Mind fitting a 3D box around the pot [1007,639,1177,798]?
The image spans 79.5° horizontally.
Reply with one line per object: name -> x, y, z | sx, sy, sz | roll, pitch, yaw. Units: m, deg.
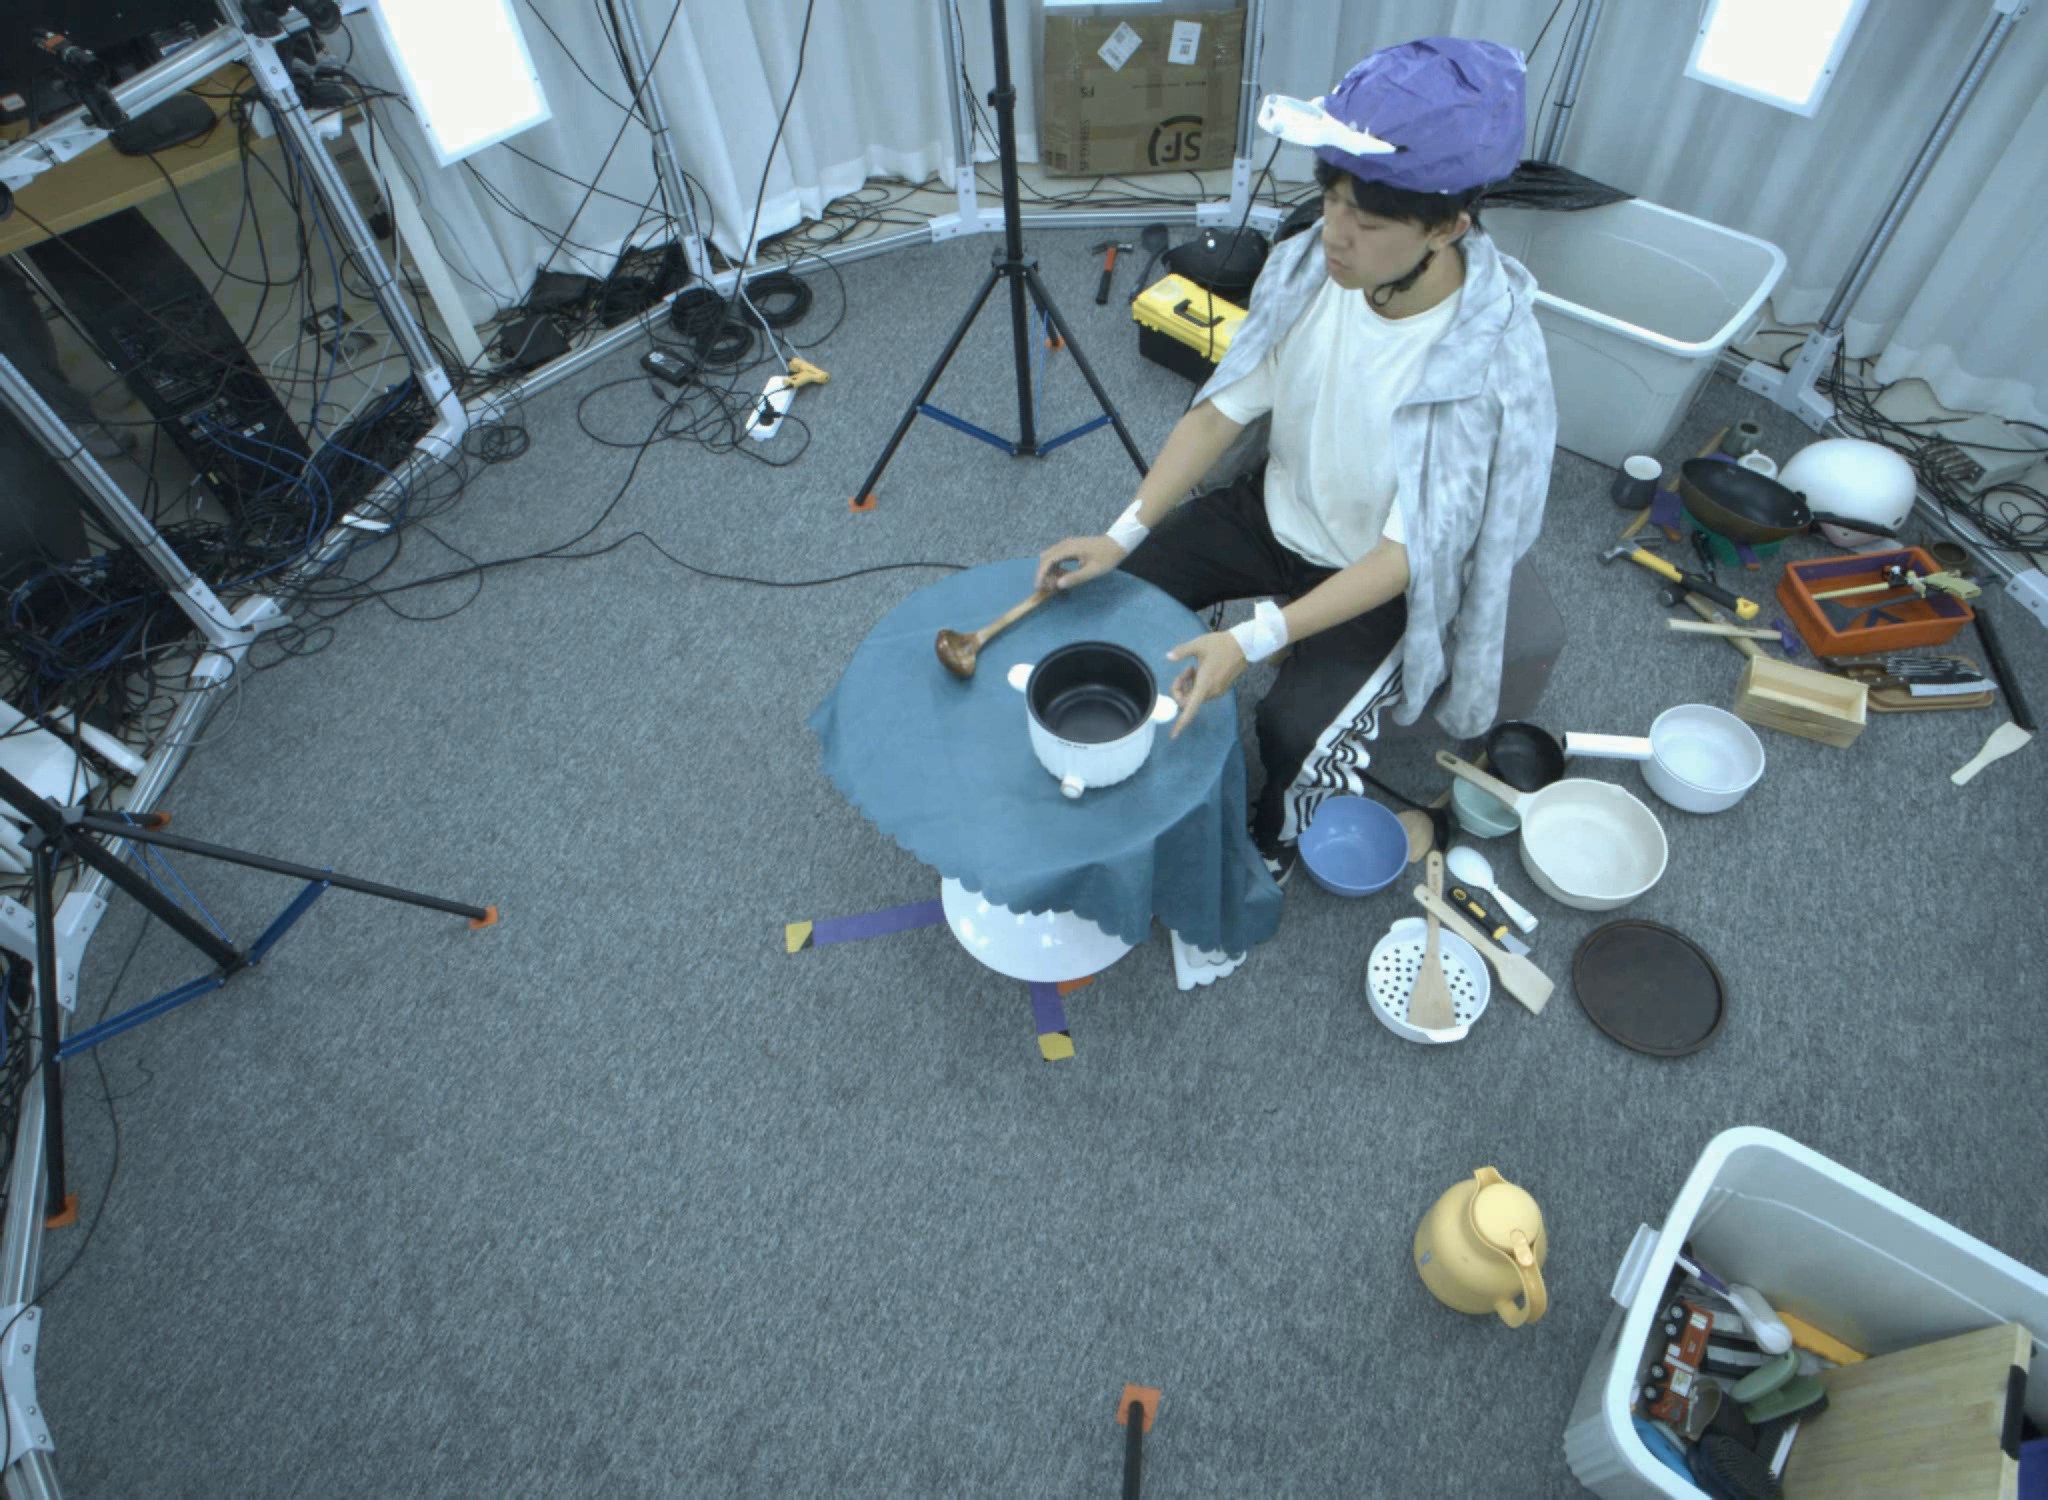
pot -> 0.094, -0.040, 1.729 | 0.238, 0.144, 0.190 | 13, 53, 13

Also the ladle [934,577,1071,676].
ladle -> -0.025, -0.204, 1.892 | 0.276, 0.075, 0.082 | -34, 101, -22
